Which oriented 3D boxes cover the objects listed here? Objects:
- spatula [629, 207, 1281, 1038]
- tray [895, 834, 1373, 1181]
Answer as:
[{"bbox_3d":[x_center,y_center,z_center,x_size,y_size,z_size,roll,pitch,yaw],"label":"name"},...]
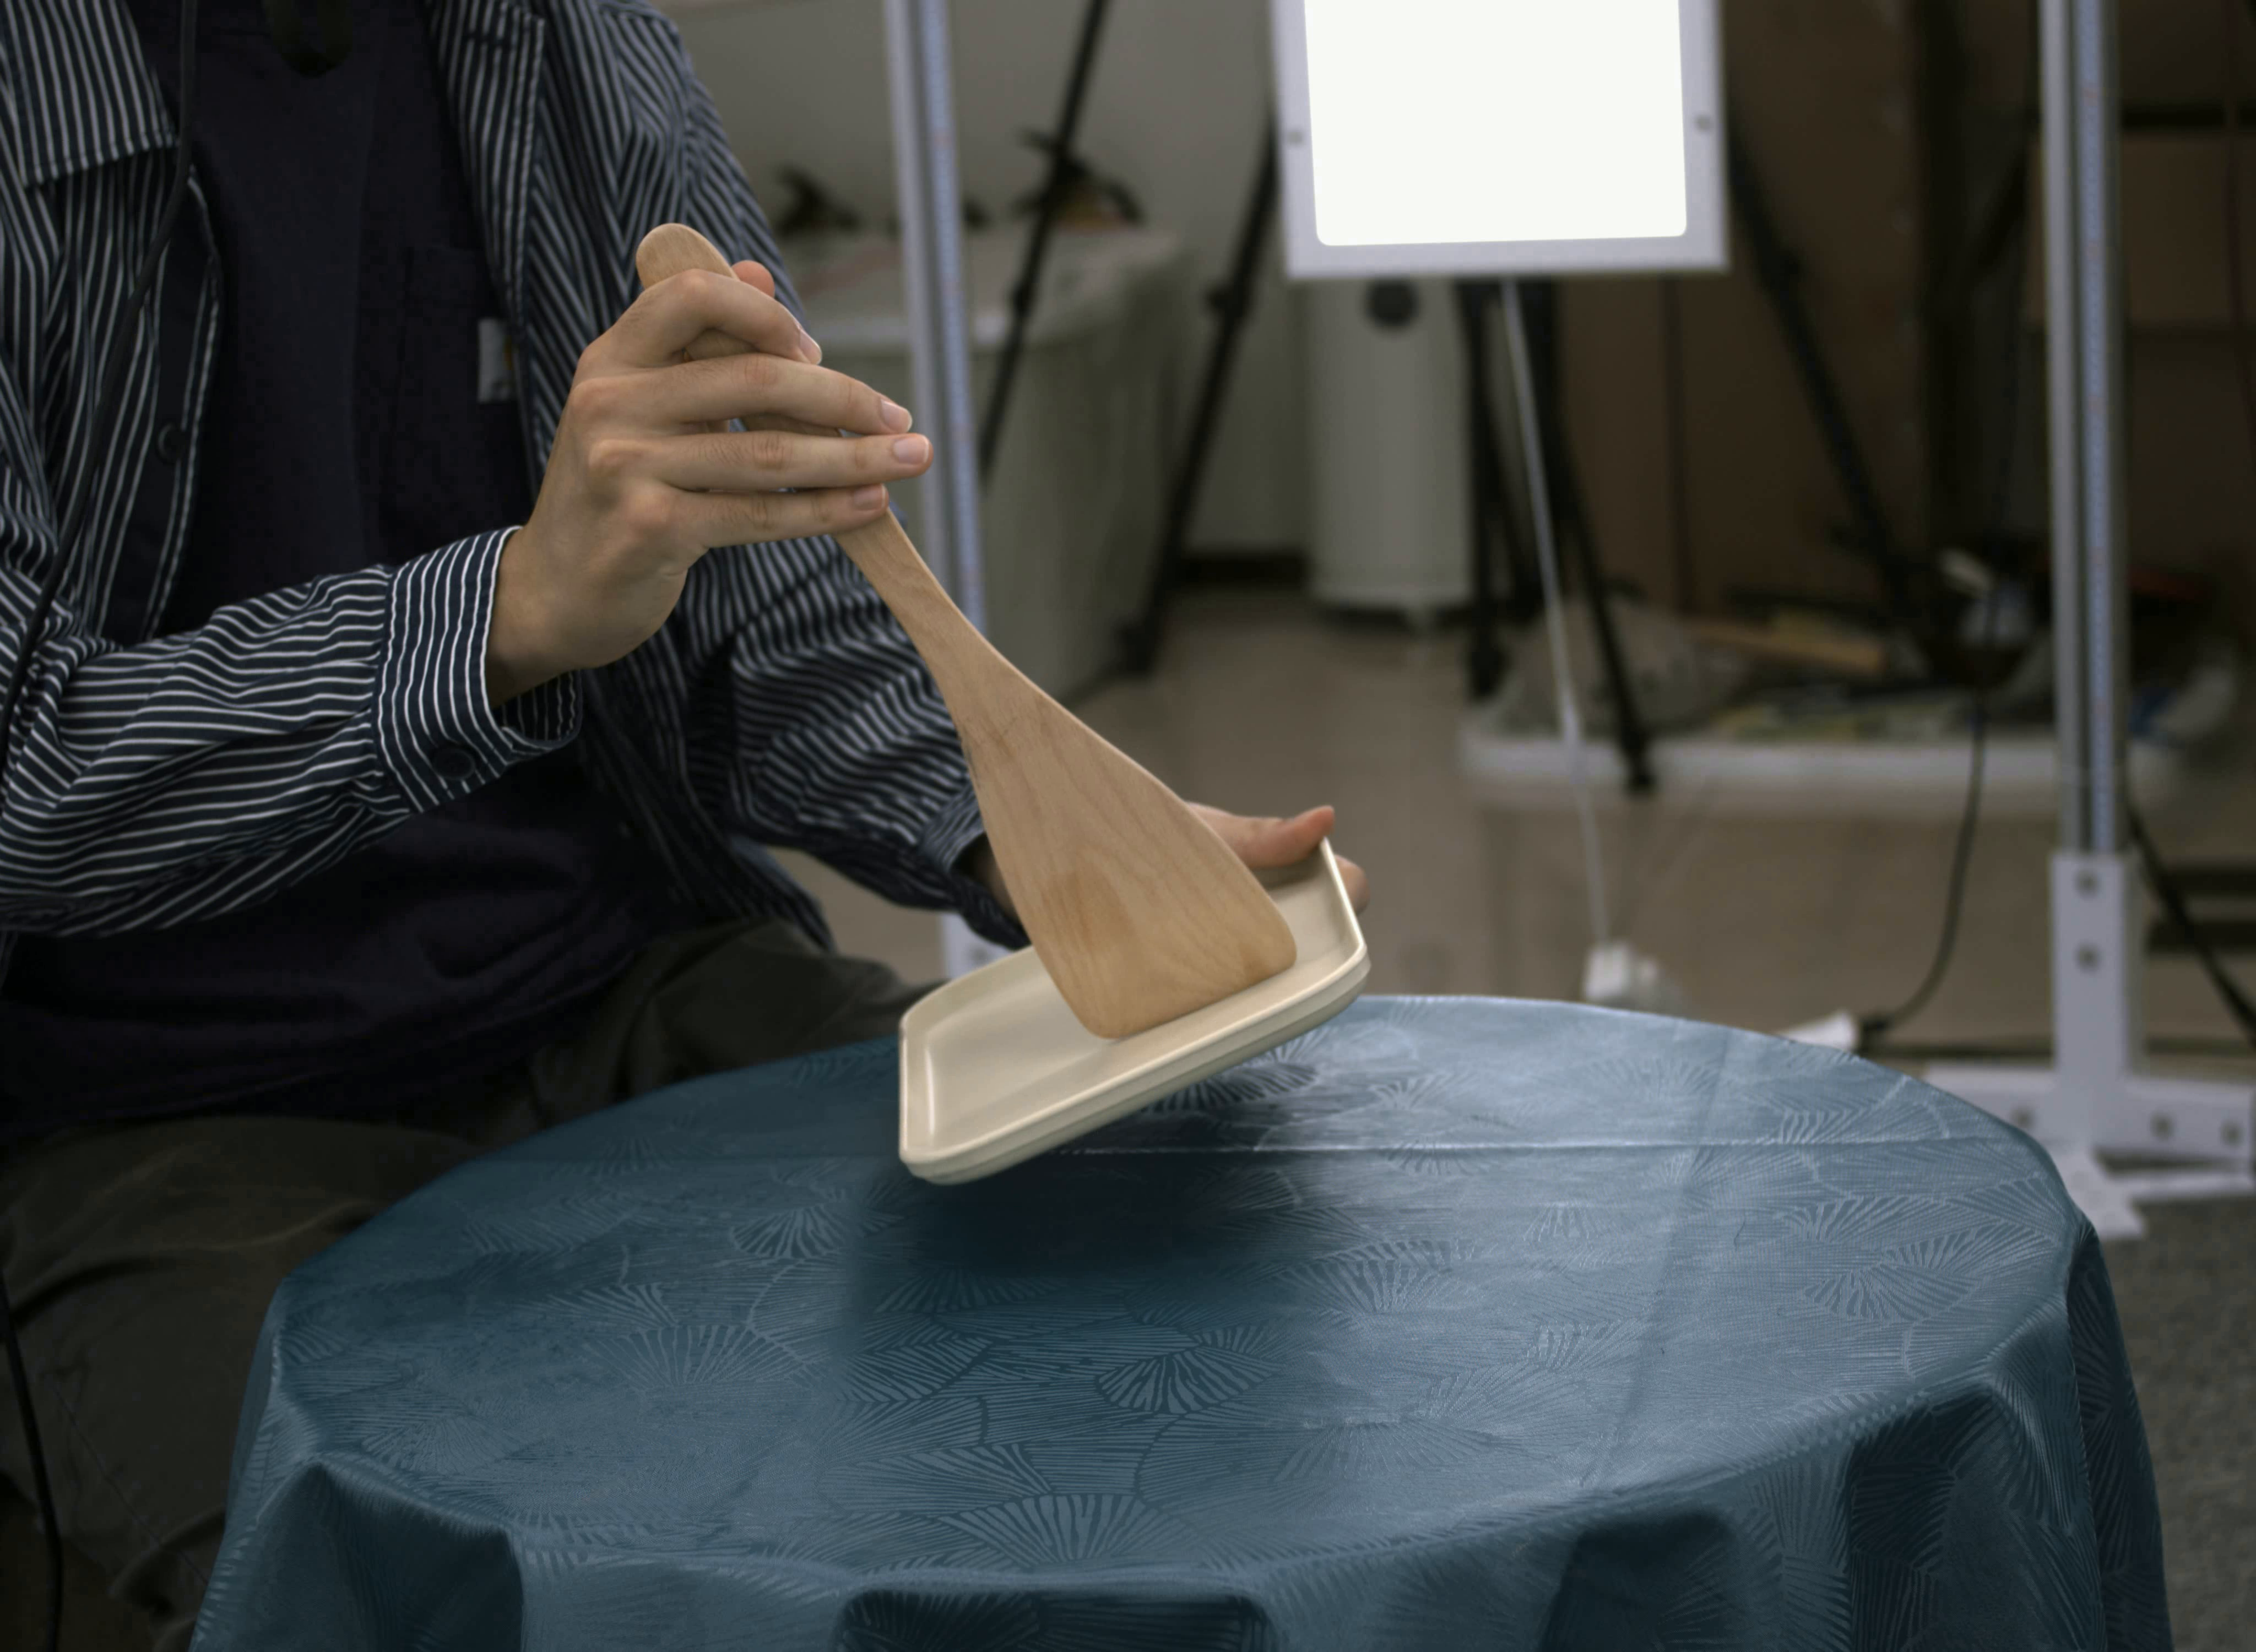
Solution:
[{"bbox_3d":[-0.068,-0.069,1.848,0.080,0.327,0.016,-33,6,13],"label":"spatula"},{"bbox_3d":[0.000,0.062,1.894,0.171,0.017,0.239,-24,11,3],"label":"tray"}]
